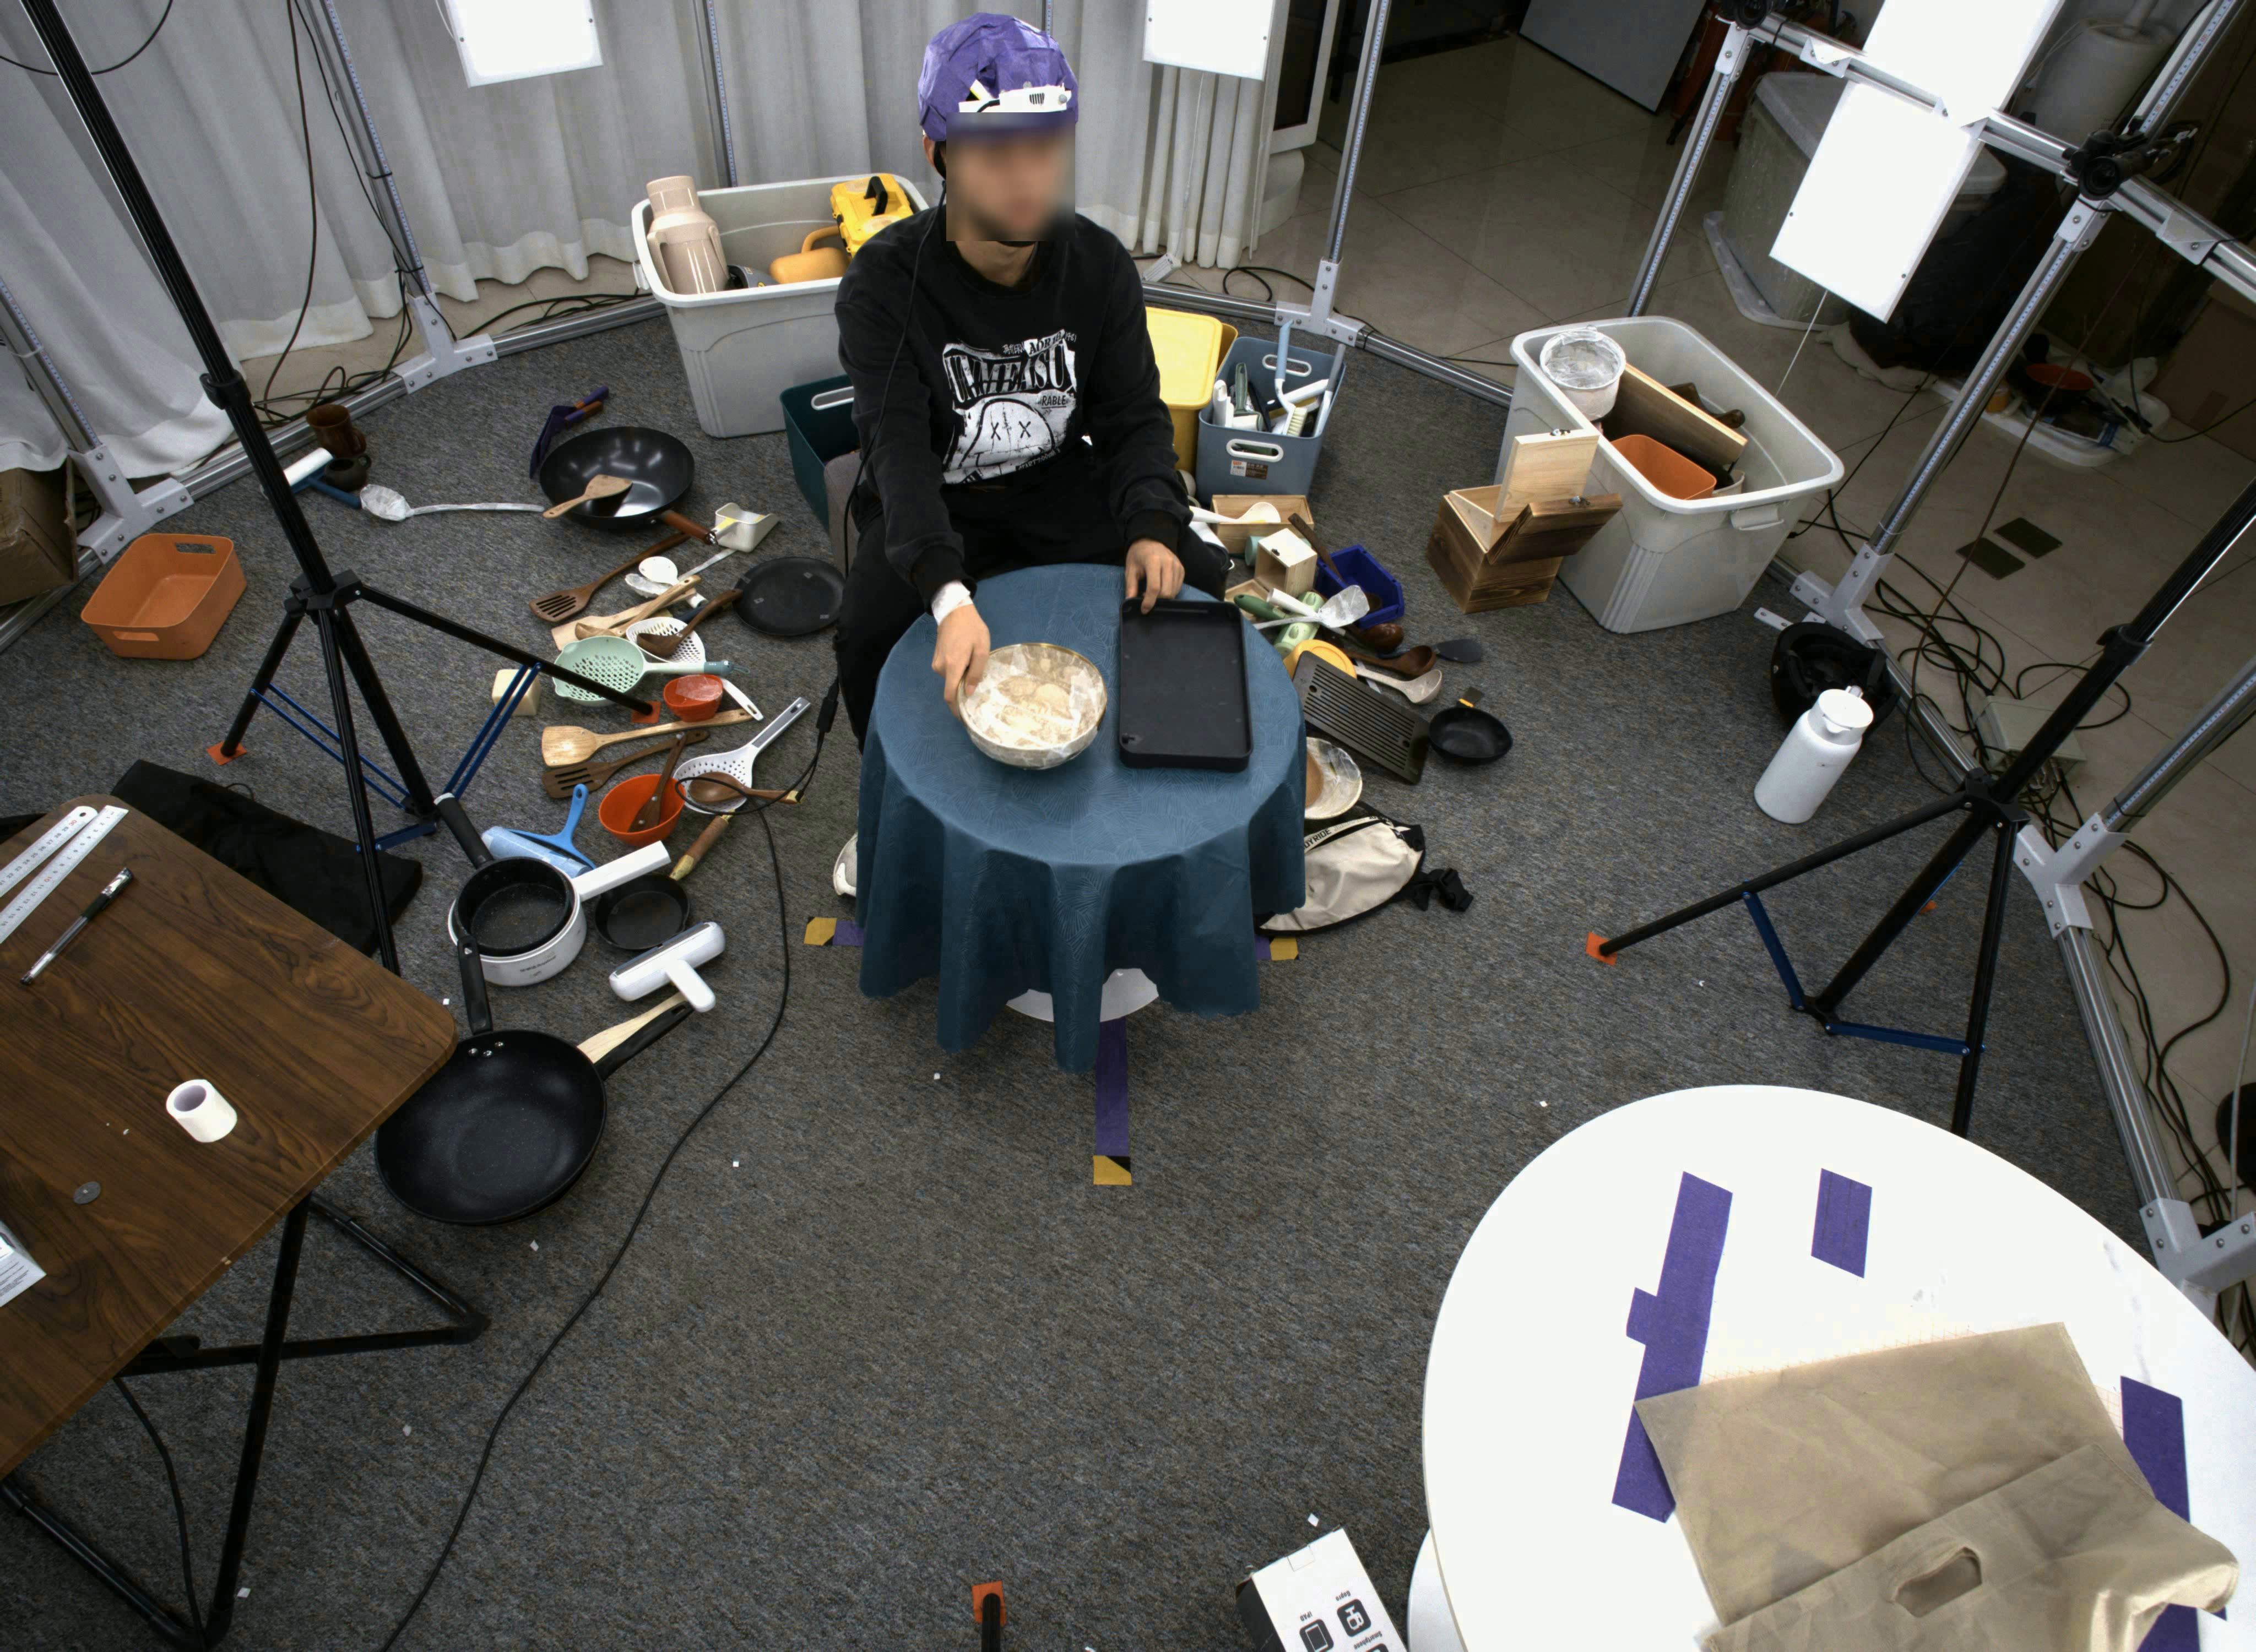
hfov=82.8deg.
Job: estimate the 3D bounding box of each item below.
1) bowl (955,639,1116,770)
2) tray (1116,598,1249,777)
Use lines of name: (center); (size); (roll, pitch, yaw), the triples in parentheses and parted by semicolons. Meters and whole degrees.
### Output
bowl: (-0.125, -0.150, 1.740); (0.214, 0.092, 0.220); (0, 49, 0)
tray: (0.078, -0.204, 1.848); (0.184, 0.036, 0.326); (4, 50, -2)
